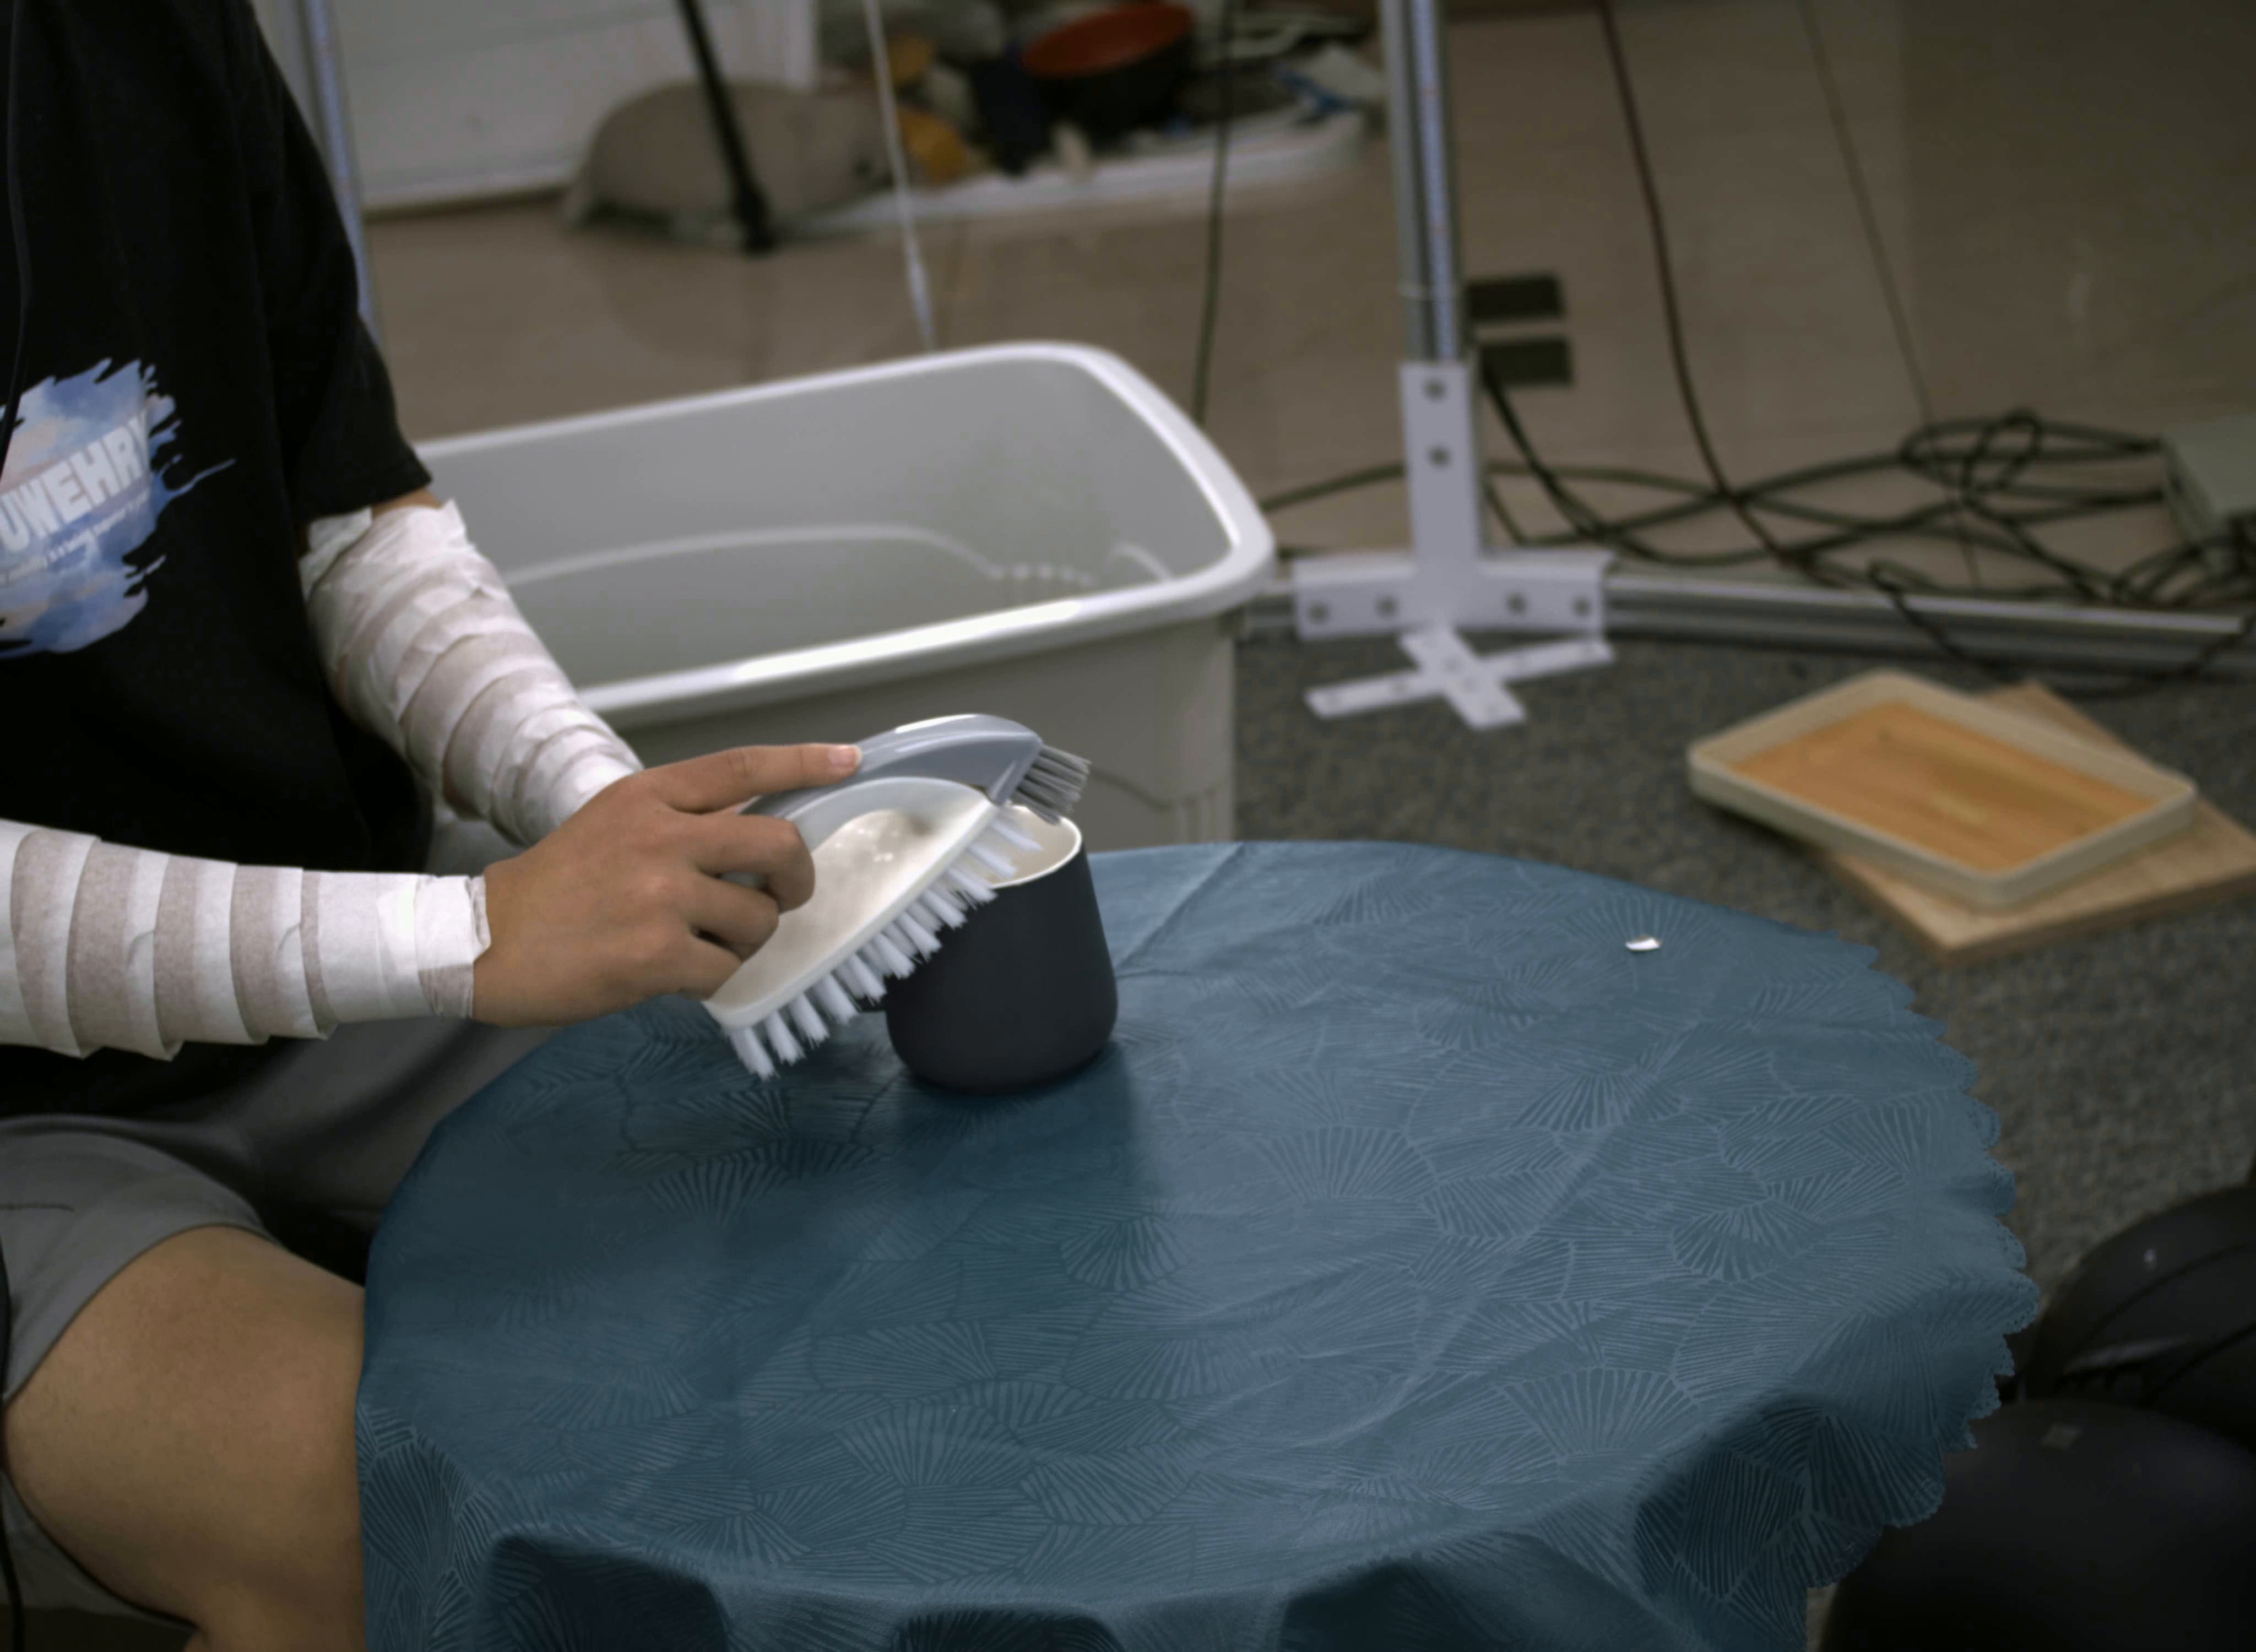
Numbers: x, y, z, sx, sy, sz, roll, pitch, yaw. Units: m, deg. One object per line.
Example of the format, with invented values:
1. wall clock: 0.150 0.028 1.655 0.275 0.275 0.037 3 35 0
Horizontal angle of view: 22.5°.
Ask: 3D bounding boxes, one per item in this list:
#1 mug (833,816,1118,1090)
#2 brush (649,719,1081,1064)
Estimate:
1. mug: -0.067 0.048 2.252 0.123 0.091 0.092 2 27 17
2. brush: -0.106 0.008 2.177 0.175 0.096 0.060 -34 48 3
